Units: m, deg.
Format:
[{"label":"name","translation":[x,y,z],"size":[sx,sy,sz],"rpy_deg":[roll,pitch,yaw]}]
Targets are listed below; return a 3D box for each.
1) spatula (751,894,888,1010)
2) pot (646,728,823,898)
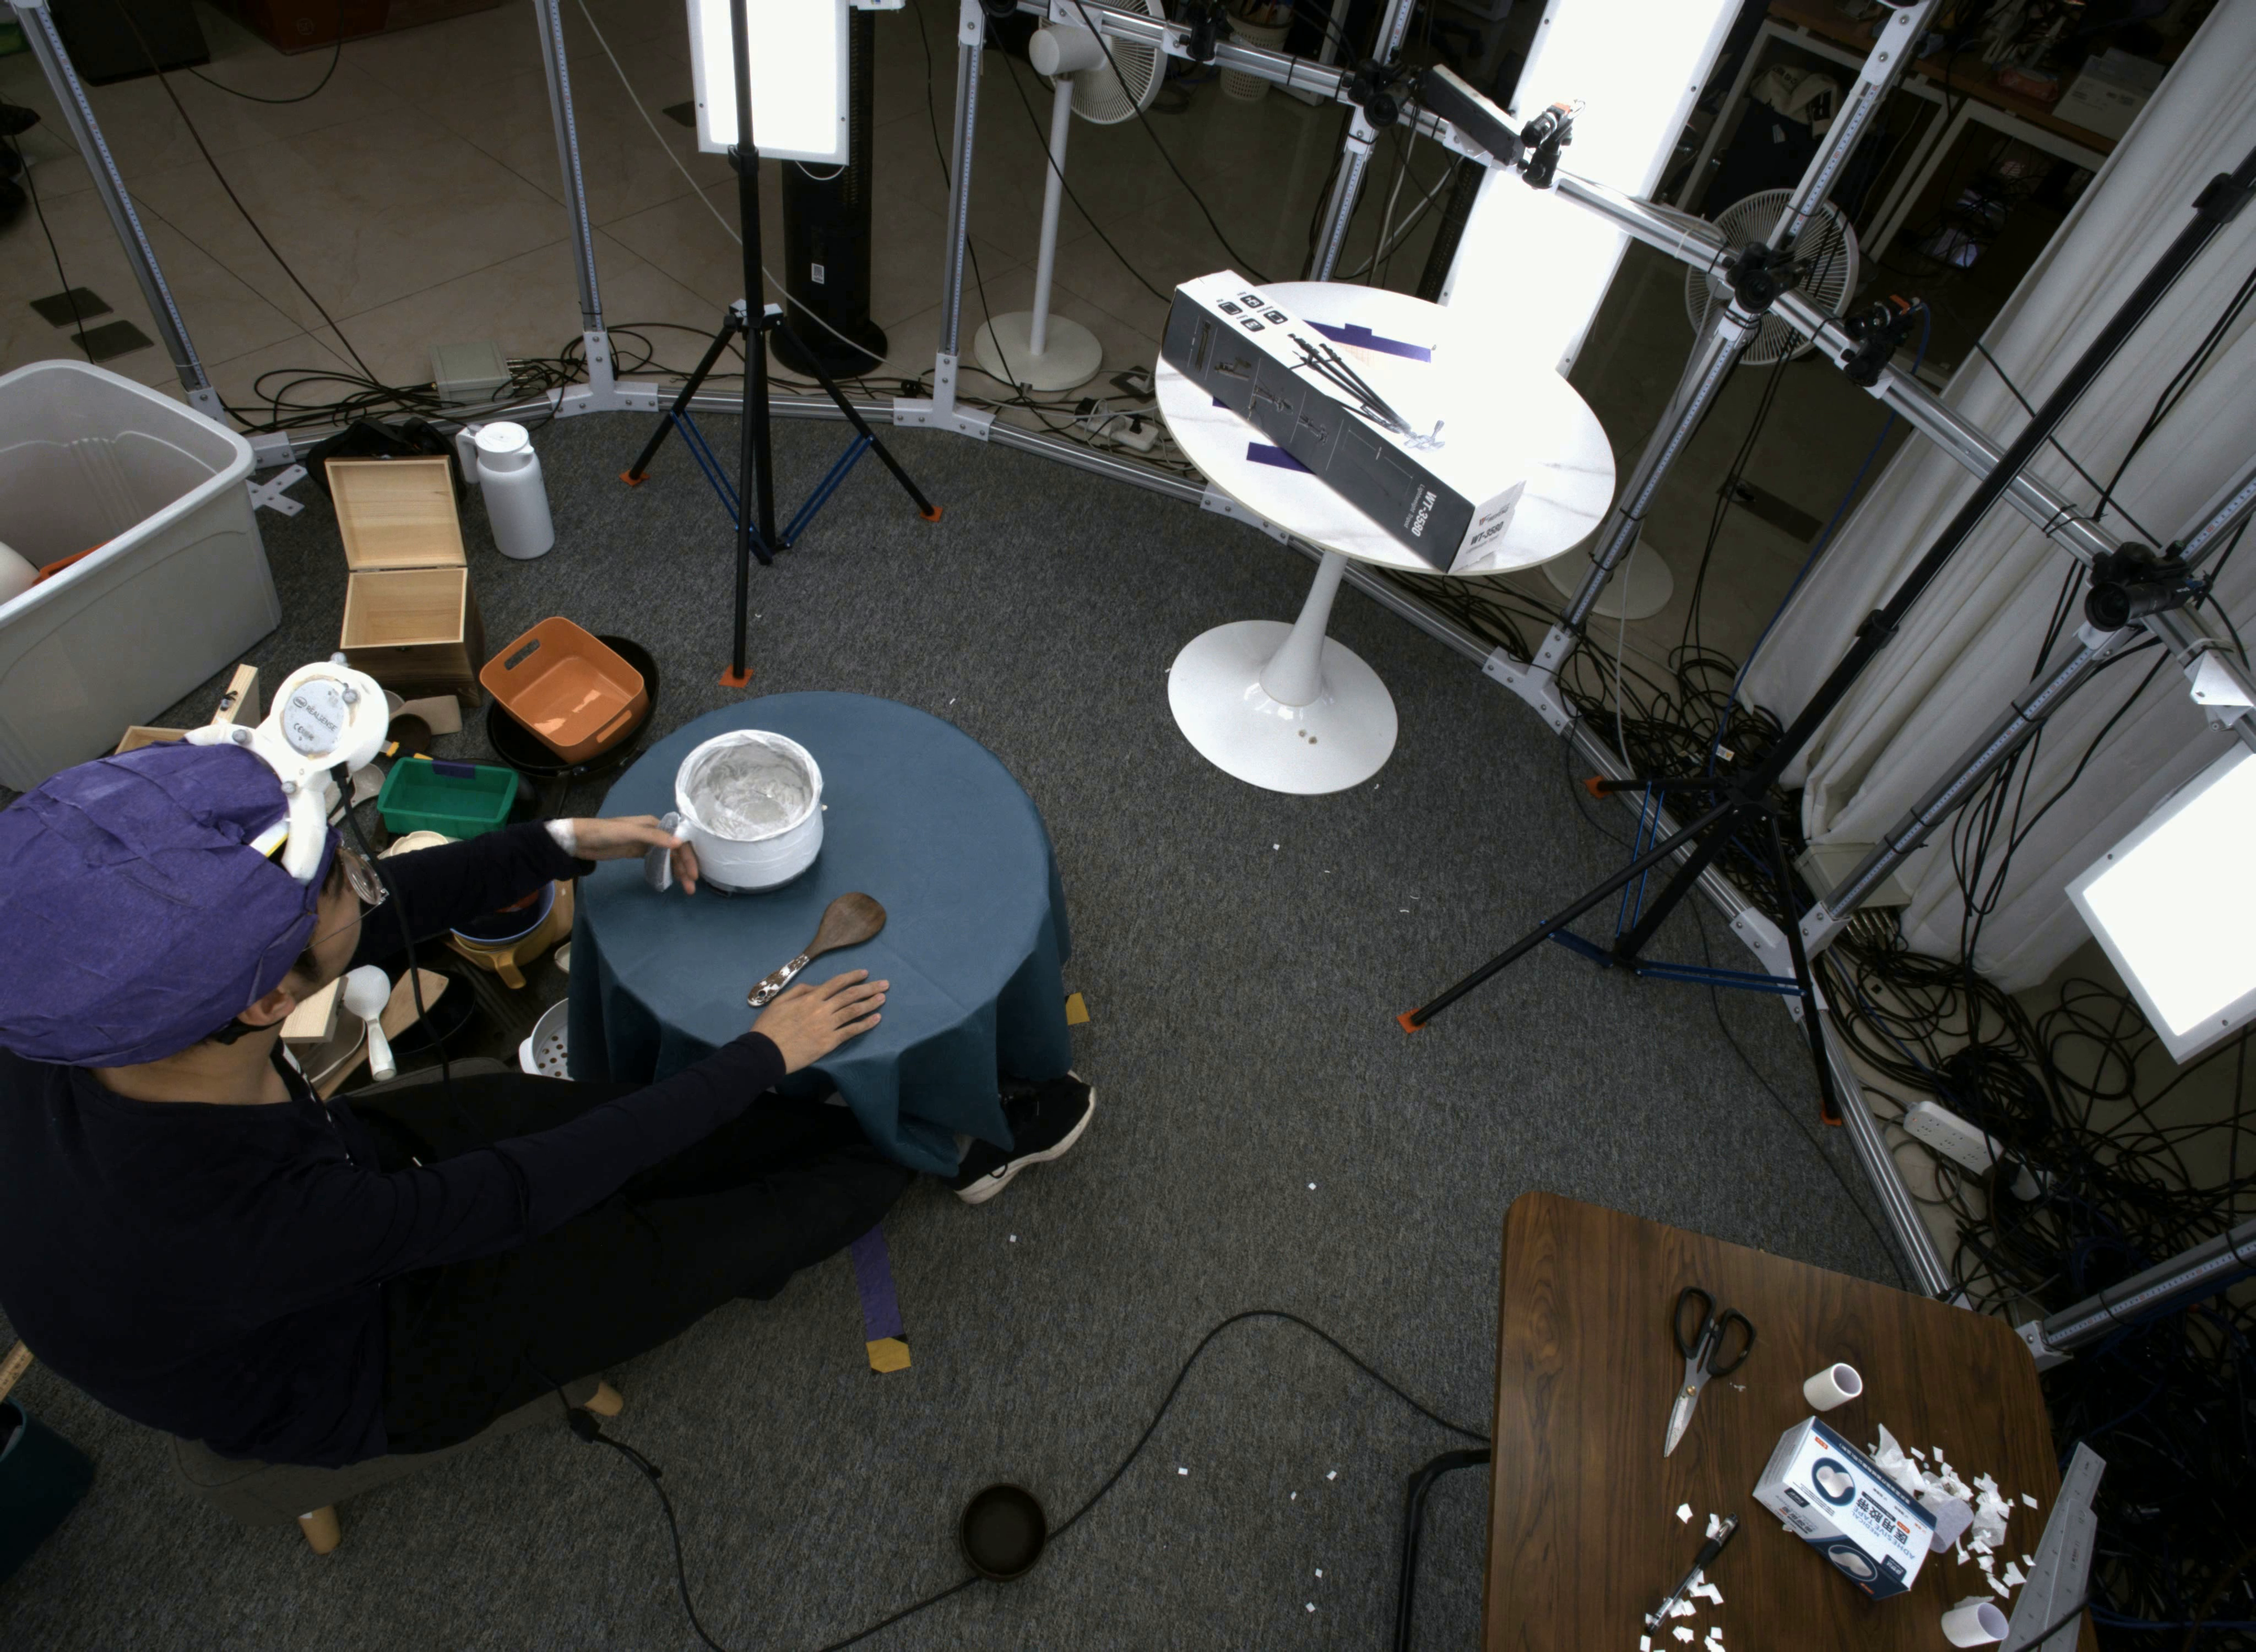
[{"label":"spatula","translation":[-0.391,0.155,1.626],"size":[0.070,0.009,0.216],"rpy_deg":[37,55,15]},{"label":"pot","translation":[-0.499,-0.004,1.629],"size":[0.234,0.140,0.174],"rpy_deg":[-30,62,-32]}]
